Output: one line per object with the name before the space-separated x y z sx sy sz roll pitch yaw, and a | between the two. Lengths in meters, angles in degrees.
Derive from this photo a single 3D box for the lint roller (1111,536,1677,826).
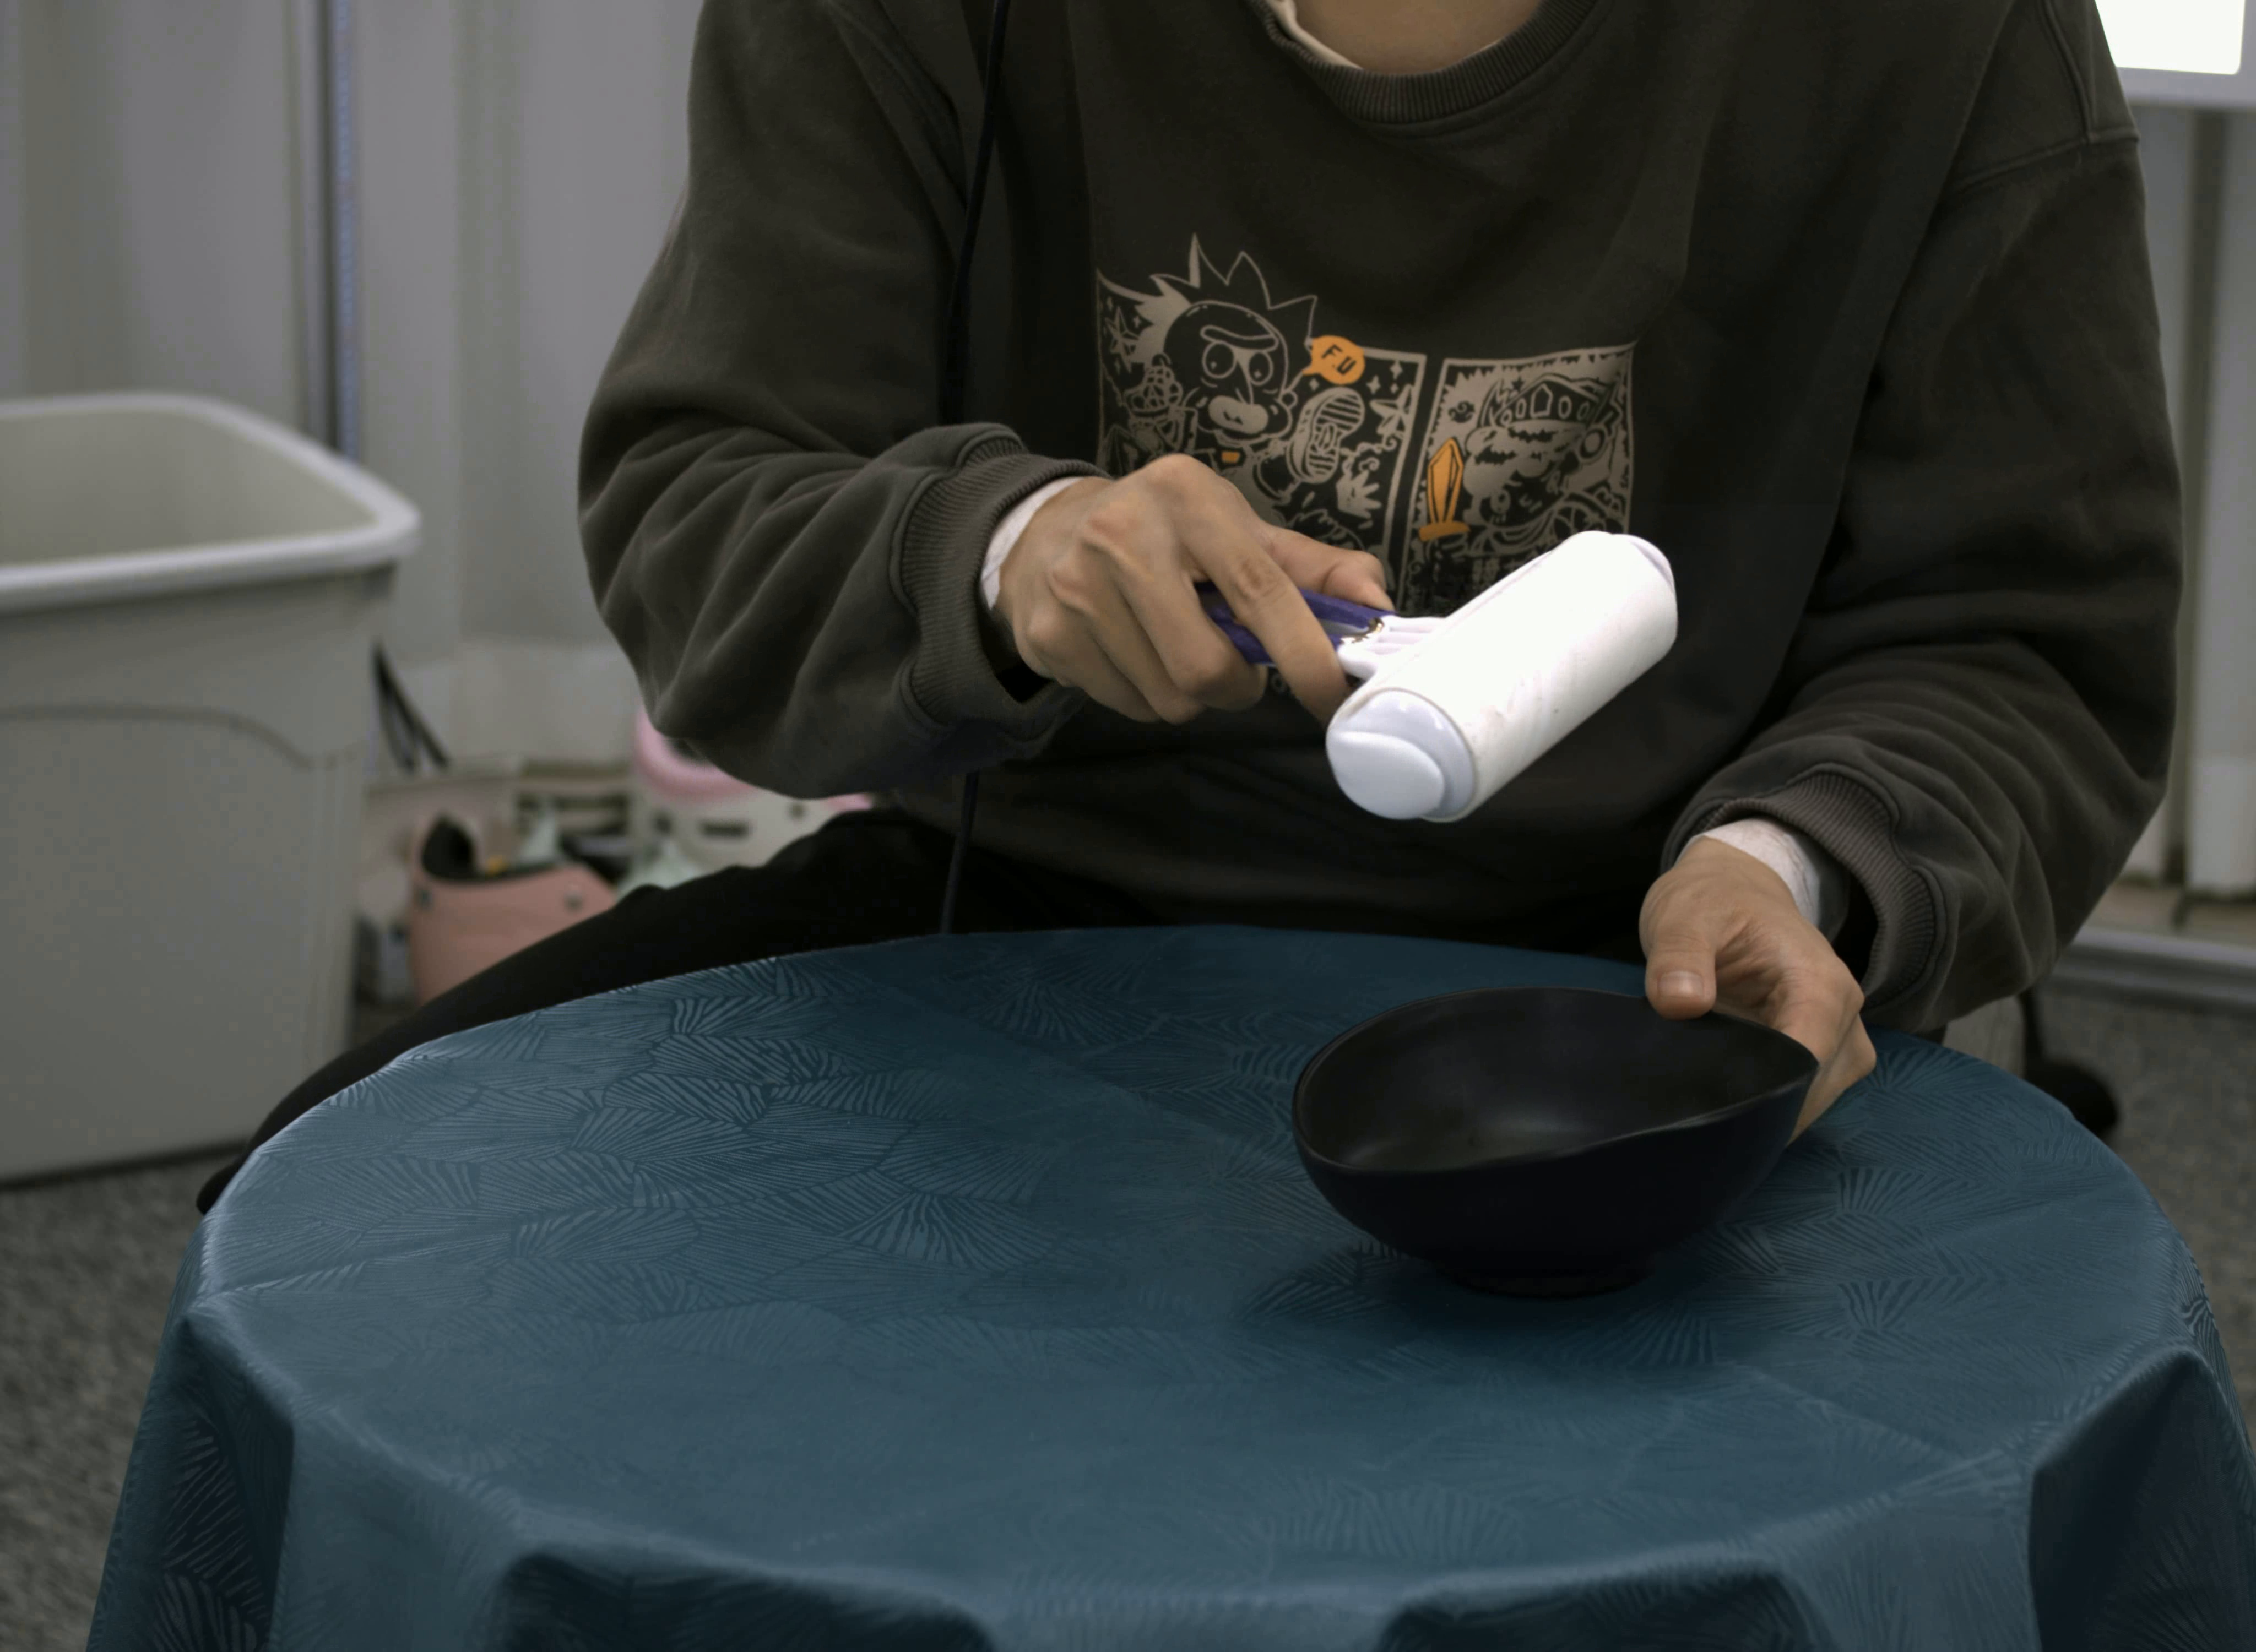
lint roller | 0.066 -0.064 1.594 0.178 0.051 0.133 24 45 35

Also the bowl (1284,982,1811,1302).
bowl | 0.125 0.099 1.564 0.171 0.067 0.135 -15 21 -38
